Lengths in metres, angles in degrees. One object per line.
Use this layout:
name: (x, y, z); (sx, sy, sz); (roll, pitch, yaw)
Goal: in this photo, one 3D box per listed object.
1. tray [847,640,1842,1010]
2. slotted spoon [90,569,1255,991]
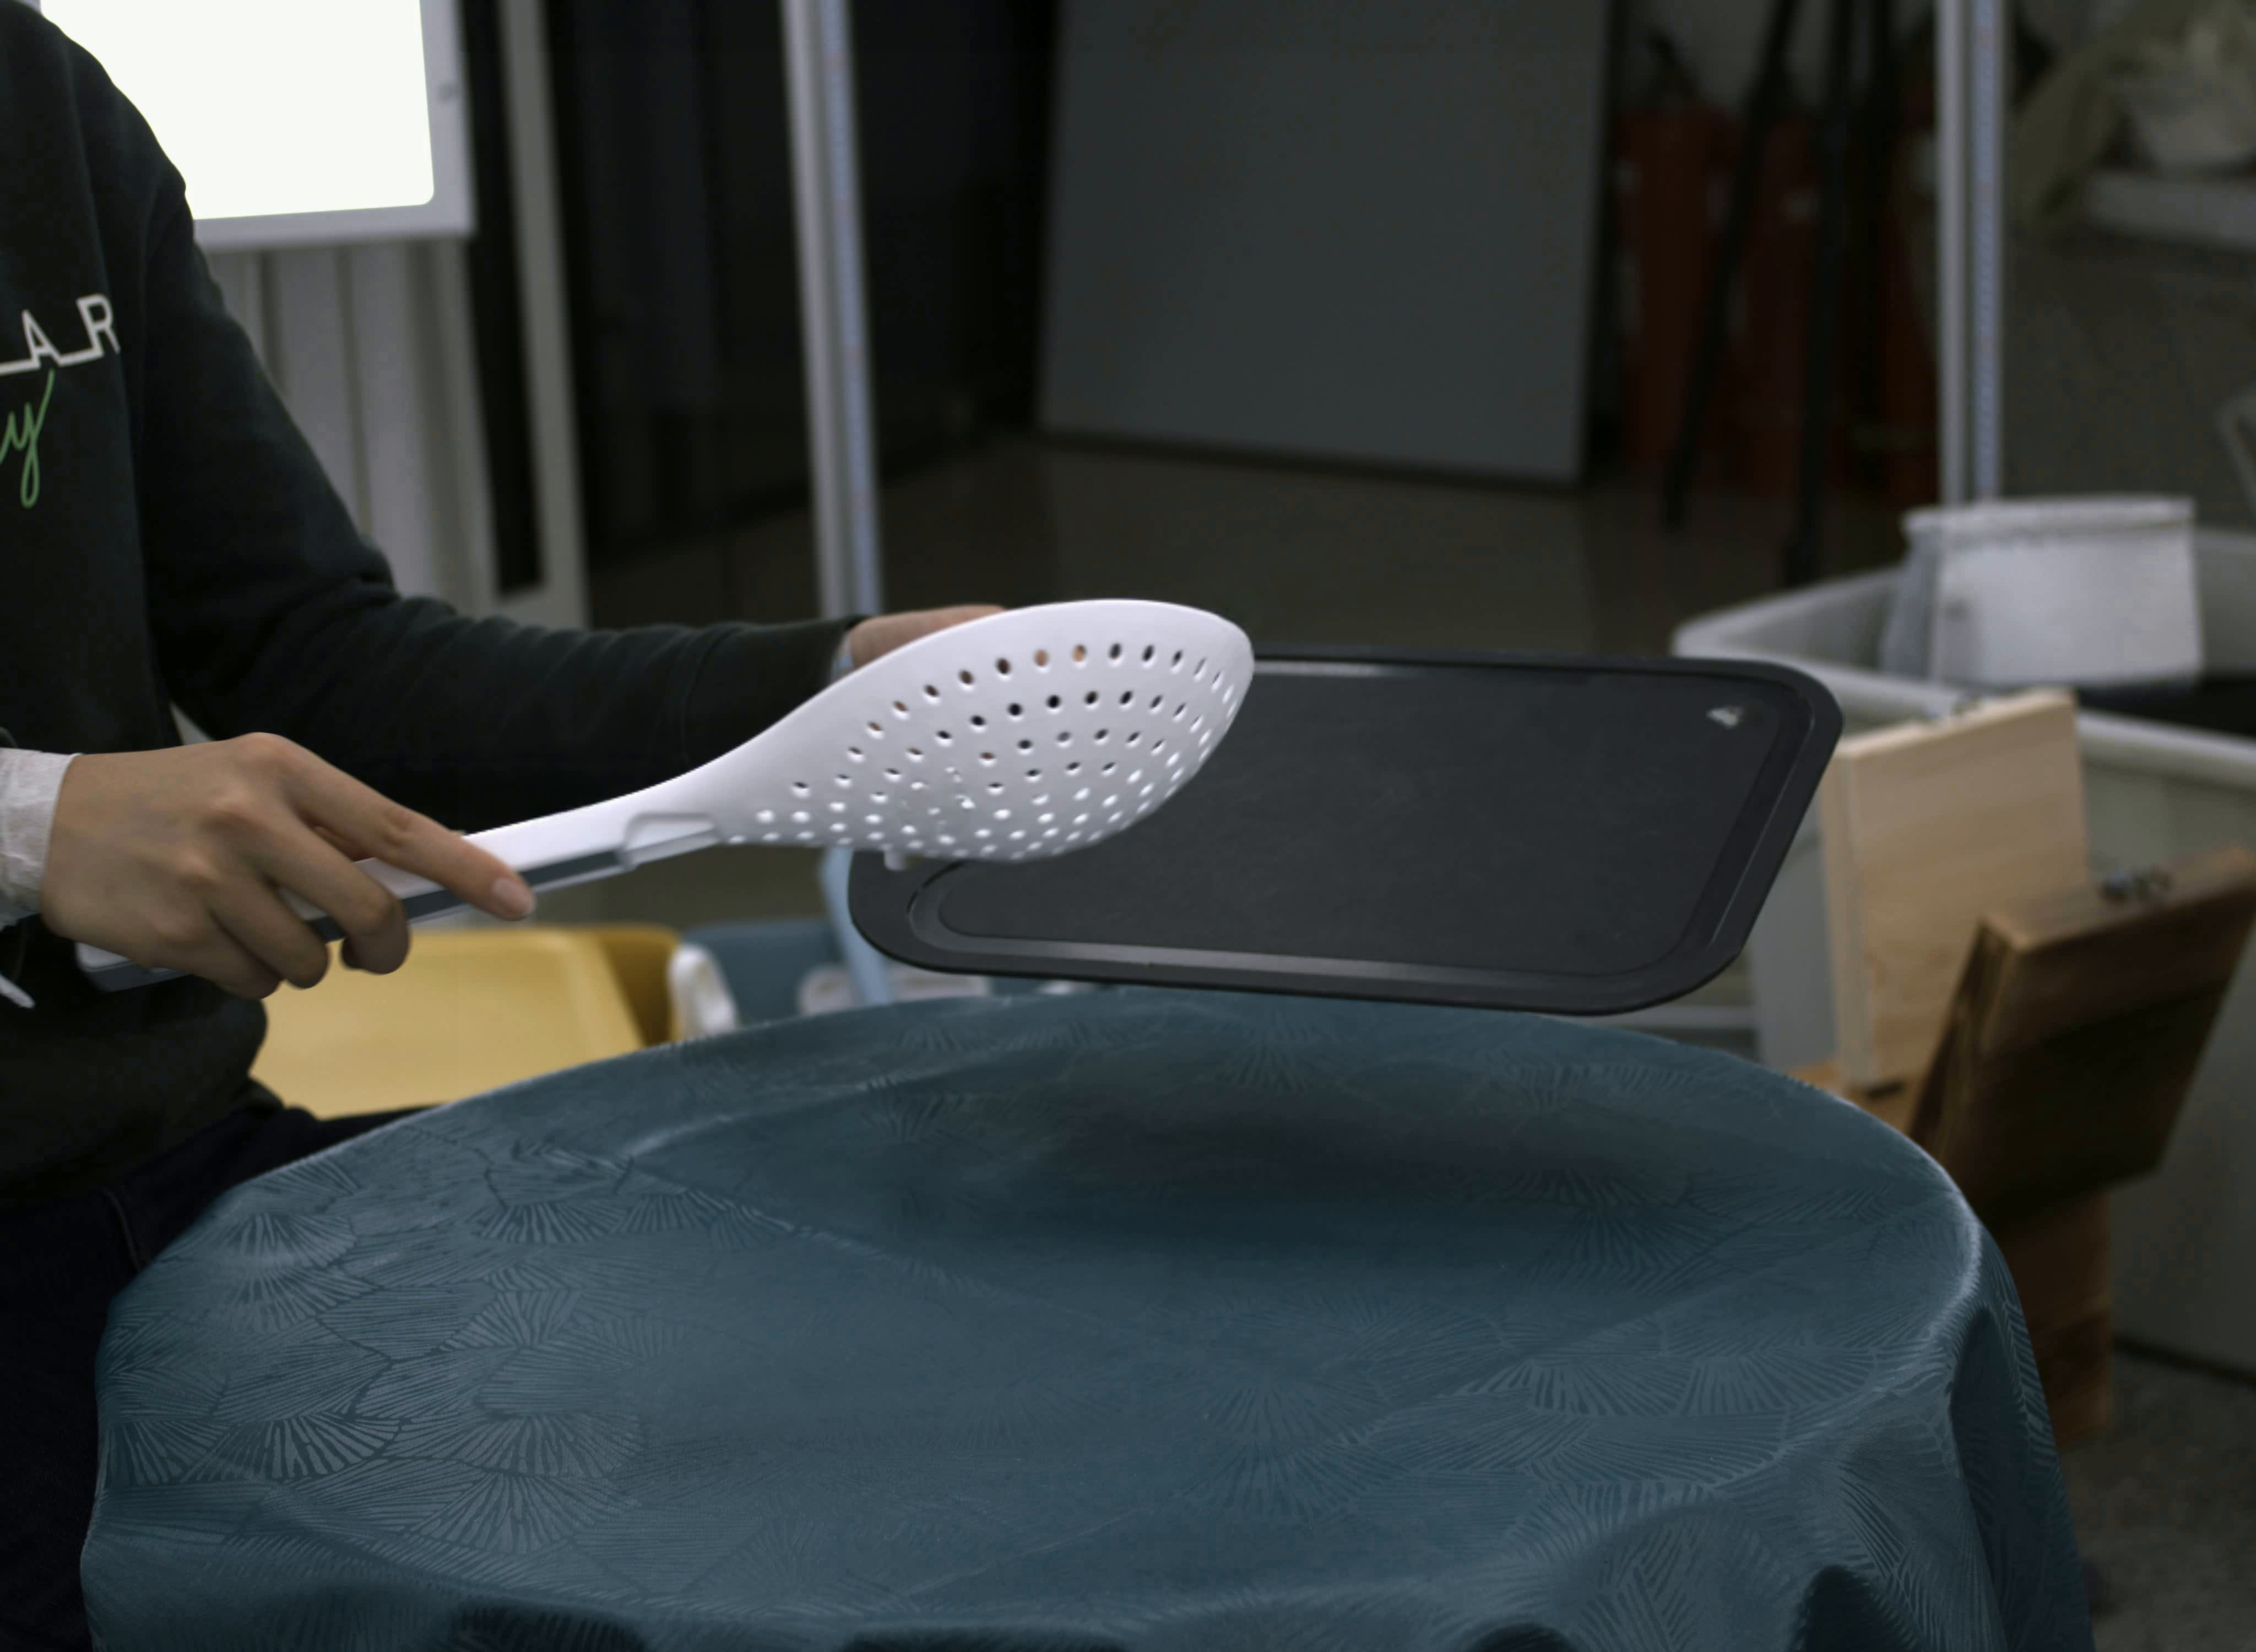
tray: (0.065, -0.006, 1.787); (0.325, 0.010, 0.210); (3, 34, 24)
slotted spoon: (-0.130, -0.007, 1.557); (0.346, 0.046, 0.135); (-11, -21, 5)
